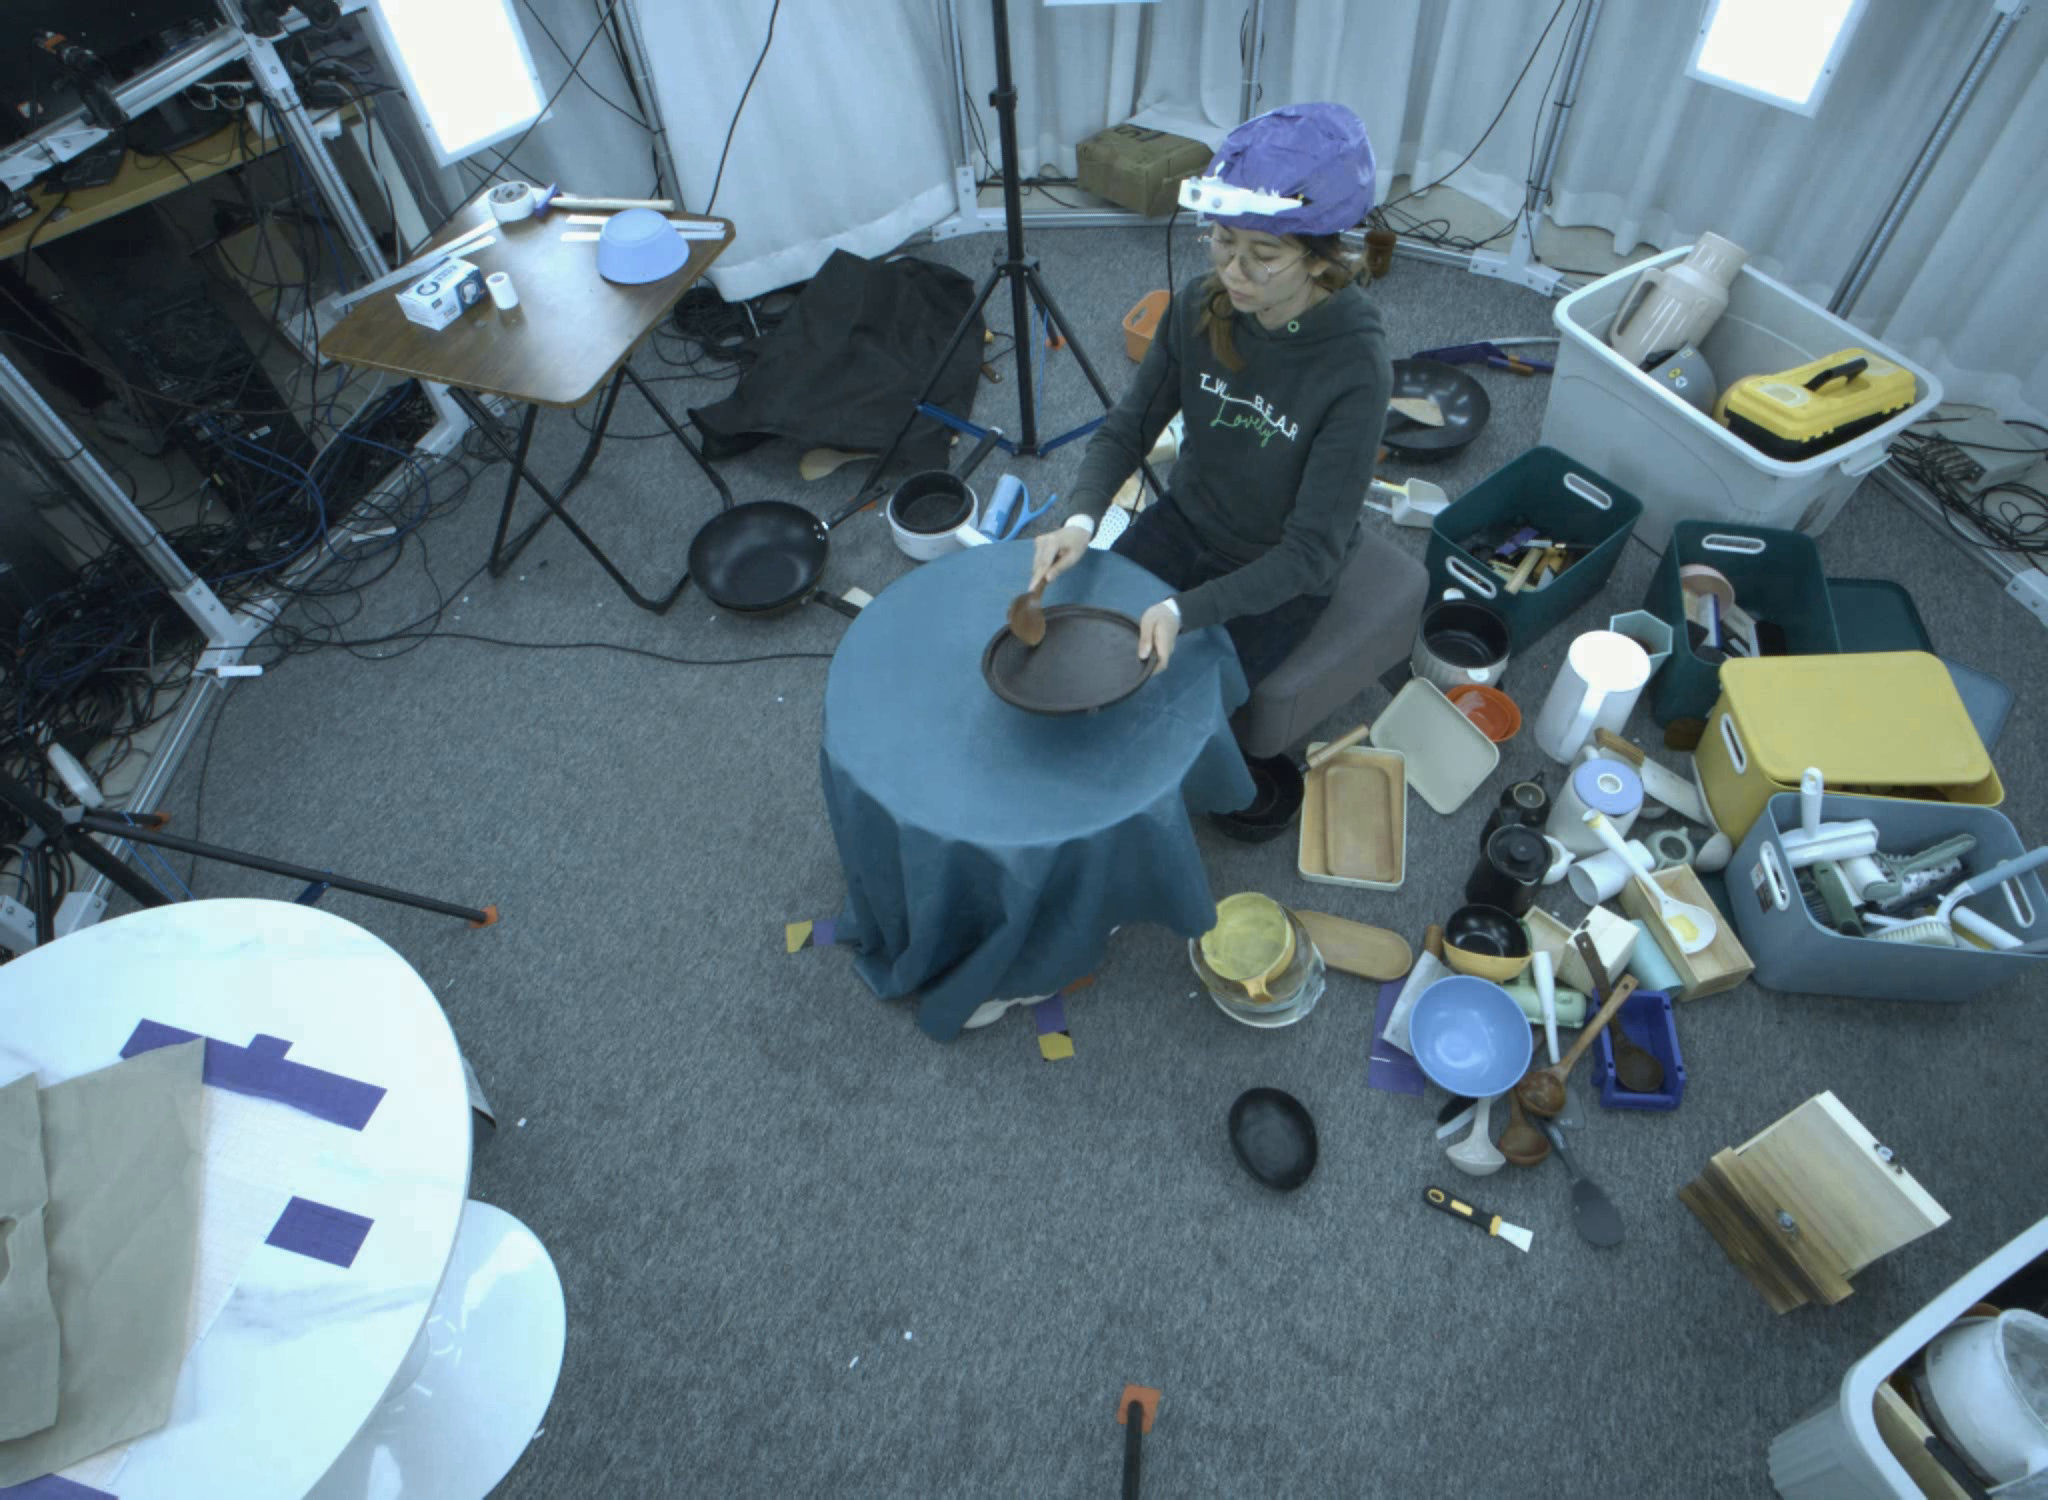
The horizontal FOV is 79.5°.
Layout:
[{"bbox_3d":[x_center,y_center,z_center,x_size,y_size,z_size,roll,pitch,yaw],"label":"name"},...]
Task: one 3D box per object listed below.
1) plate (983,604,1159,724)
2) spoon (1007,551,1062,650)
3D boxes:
[{"bbox_3d":[0.067,-0.124,1.766,0.254,0.029,0.252,-3,44,4],"label":"plate"},{"bbox_3d":[0.020,-0.228,1.834,0.017,0.077,0.215,-23,33,39],"label":"spoon"}]
